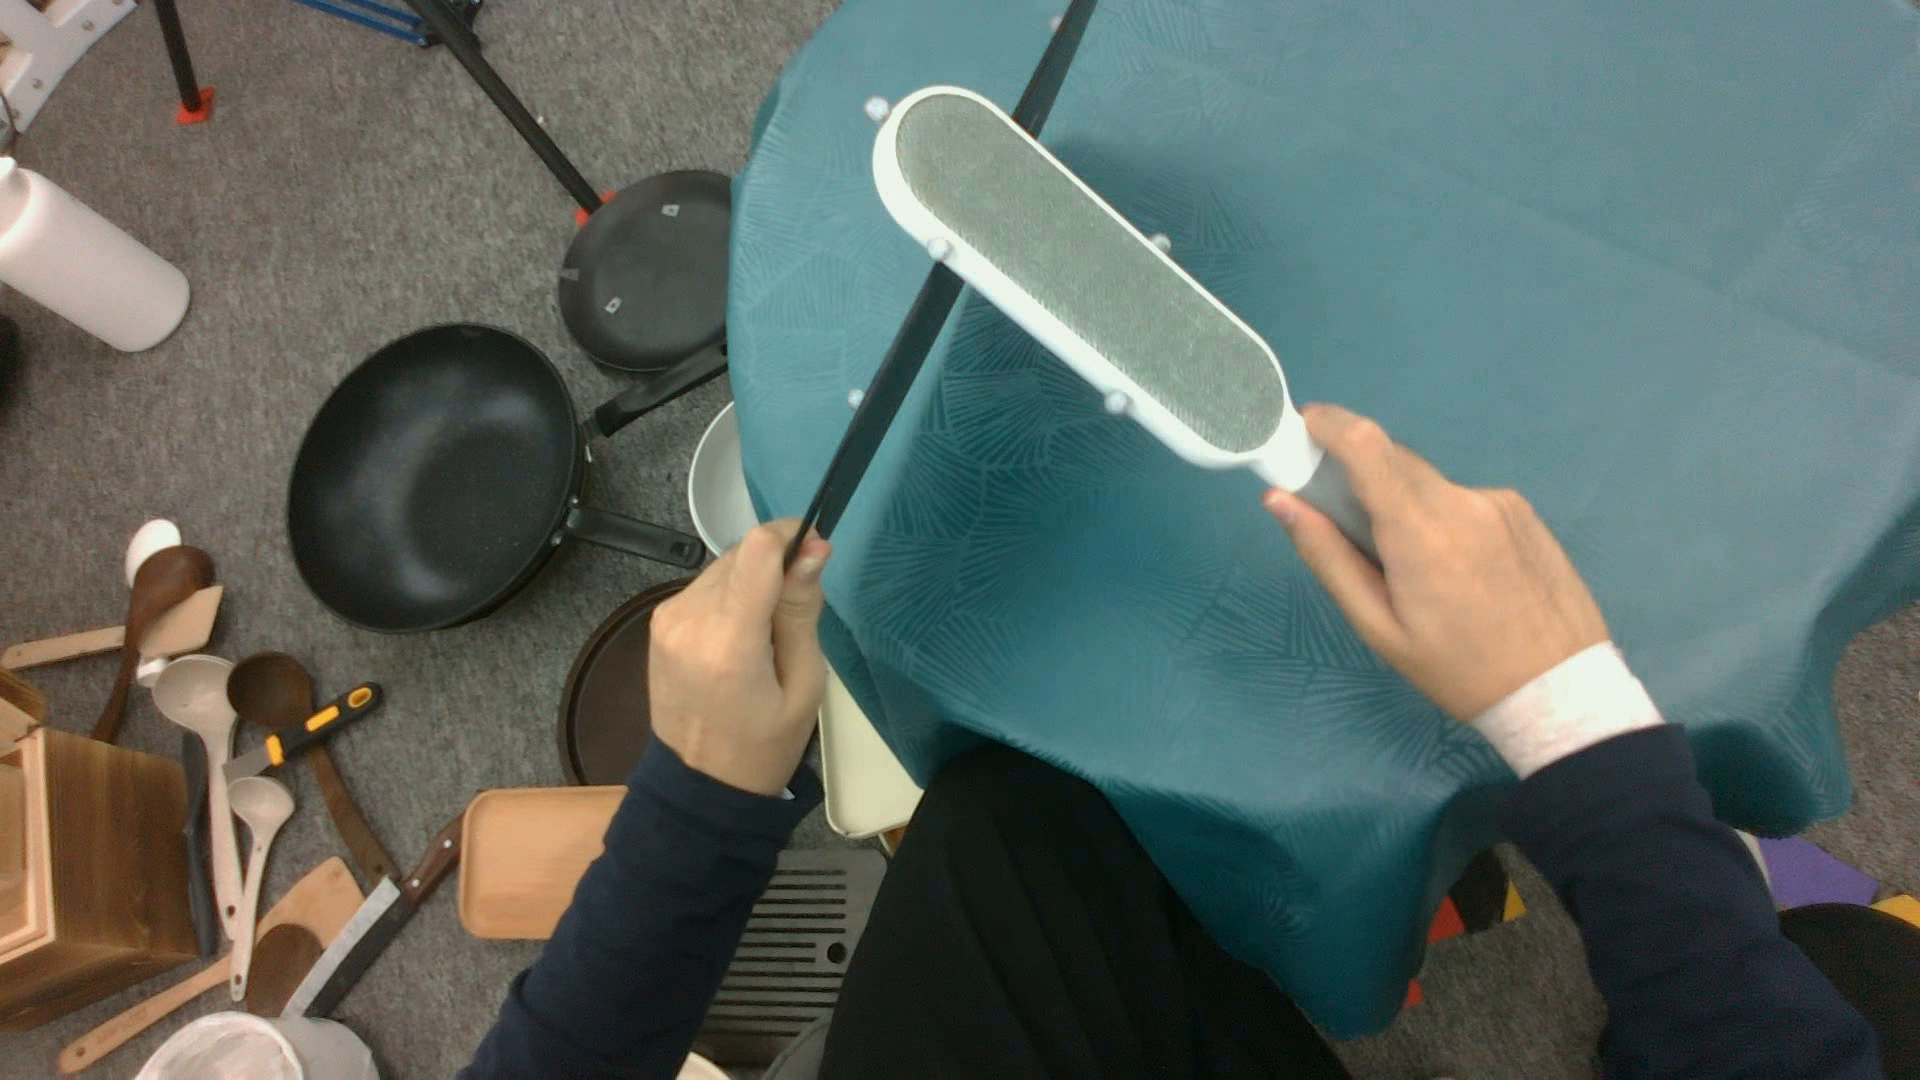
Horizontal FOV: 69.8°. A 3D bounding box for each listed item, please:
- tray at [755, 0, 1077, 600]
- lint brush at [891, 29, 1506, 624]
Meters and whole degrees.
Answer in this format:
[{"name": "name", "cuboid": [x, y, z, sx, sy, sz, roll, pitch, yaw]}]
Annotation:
[{"name": "tray", "cuboid": [-0.012, -0.121, 0.592, 0.010, 0.210, 0.326, 27, 70, -4]}, {"name": "lint brush", "cuboid": [0.096, -0.069, 0.507, 0.309, 0.021, 0.060, 41, 58, -13]}]
